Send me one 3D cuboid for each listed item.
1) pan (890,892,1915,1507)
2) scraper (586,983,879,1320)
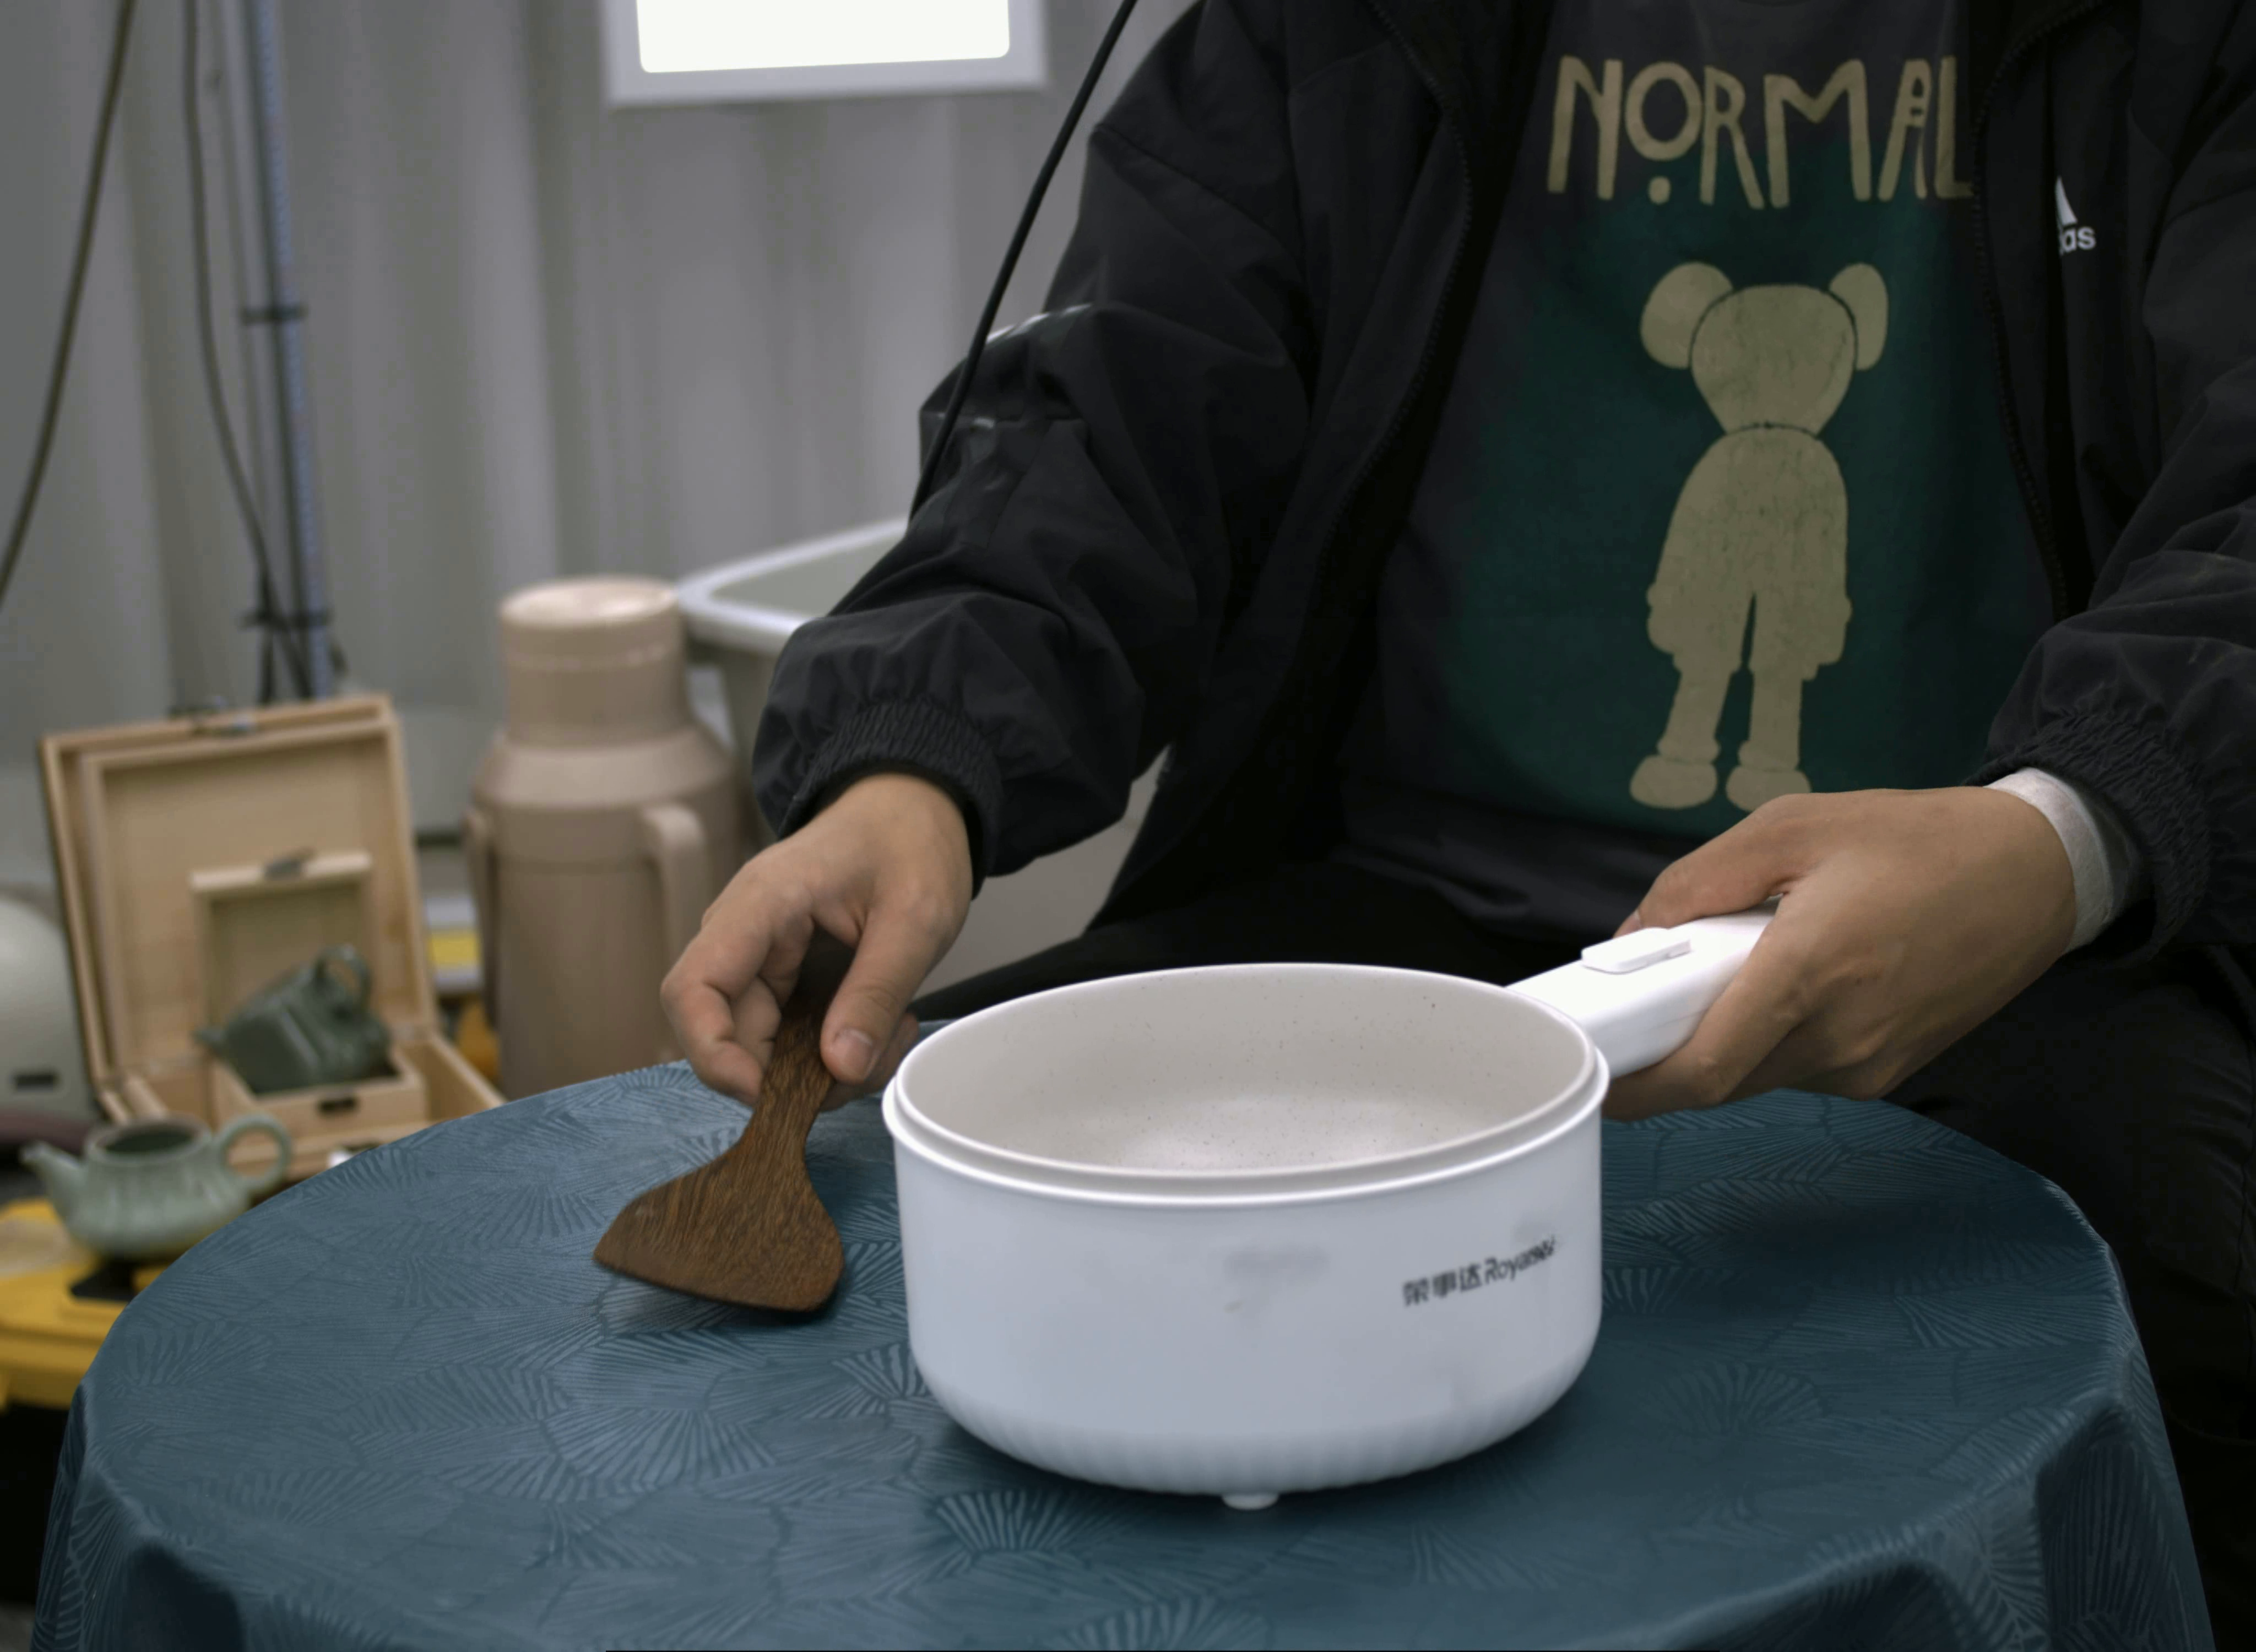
[{"bbox_3d":[0.093,0.099,1.566,0.354,0.102,0.202,-13,18,-40],"label":"pan"},{"bbox_3d":[-0.110,0.099,1.704,0.075,0.011,0.213,11,26,4],"label":"scraper"}]
